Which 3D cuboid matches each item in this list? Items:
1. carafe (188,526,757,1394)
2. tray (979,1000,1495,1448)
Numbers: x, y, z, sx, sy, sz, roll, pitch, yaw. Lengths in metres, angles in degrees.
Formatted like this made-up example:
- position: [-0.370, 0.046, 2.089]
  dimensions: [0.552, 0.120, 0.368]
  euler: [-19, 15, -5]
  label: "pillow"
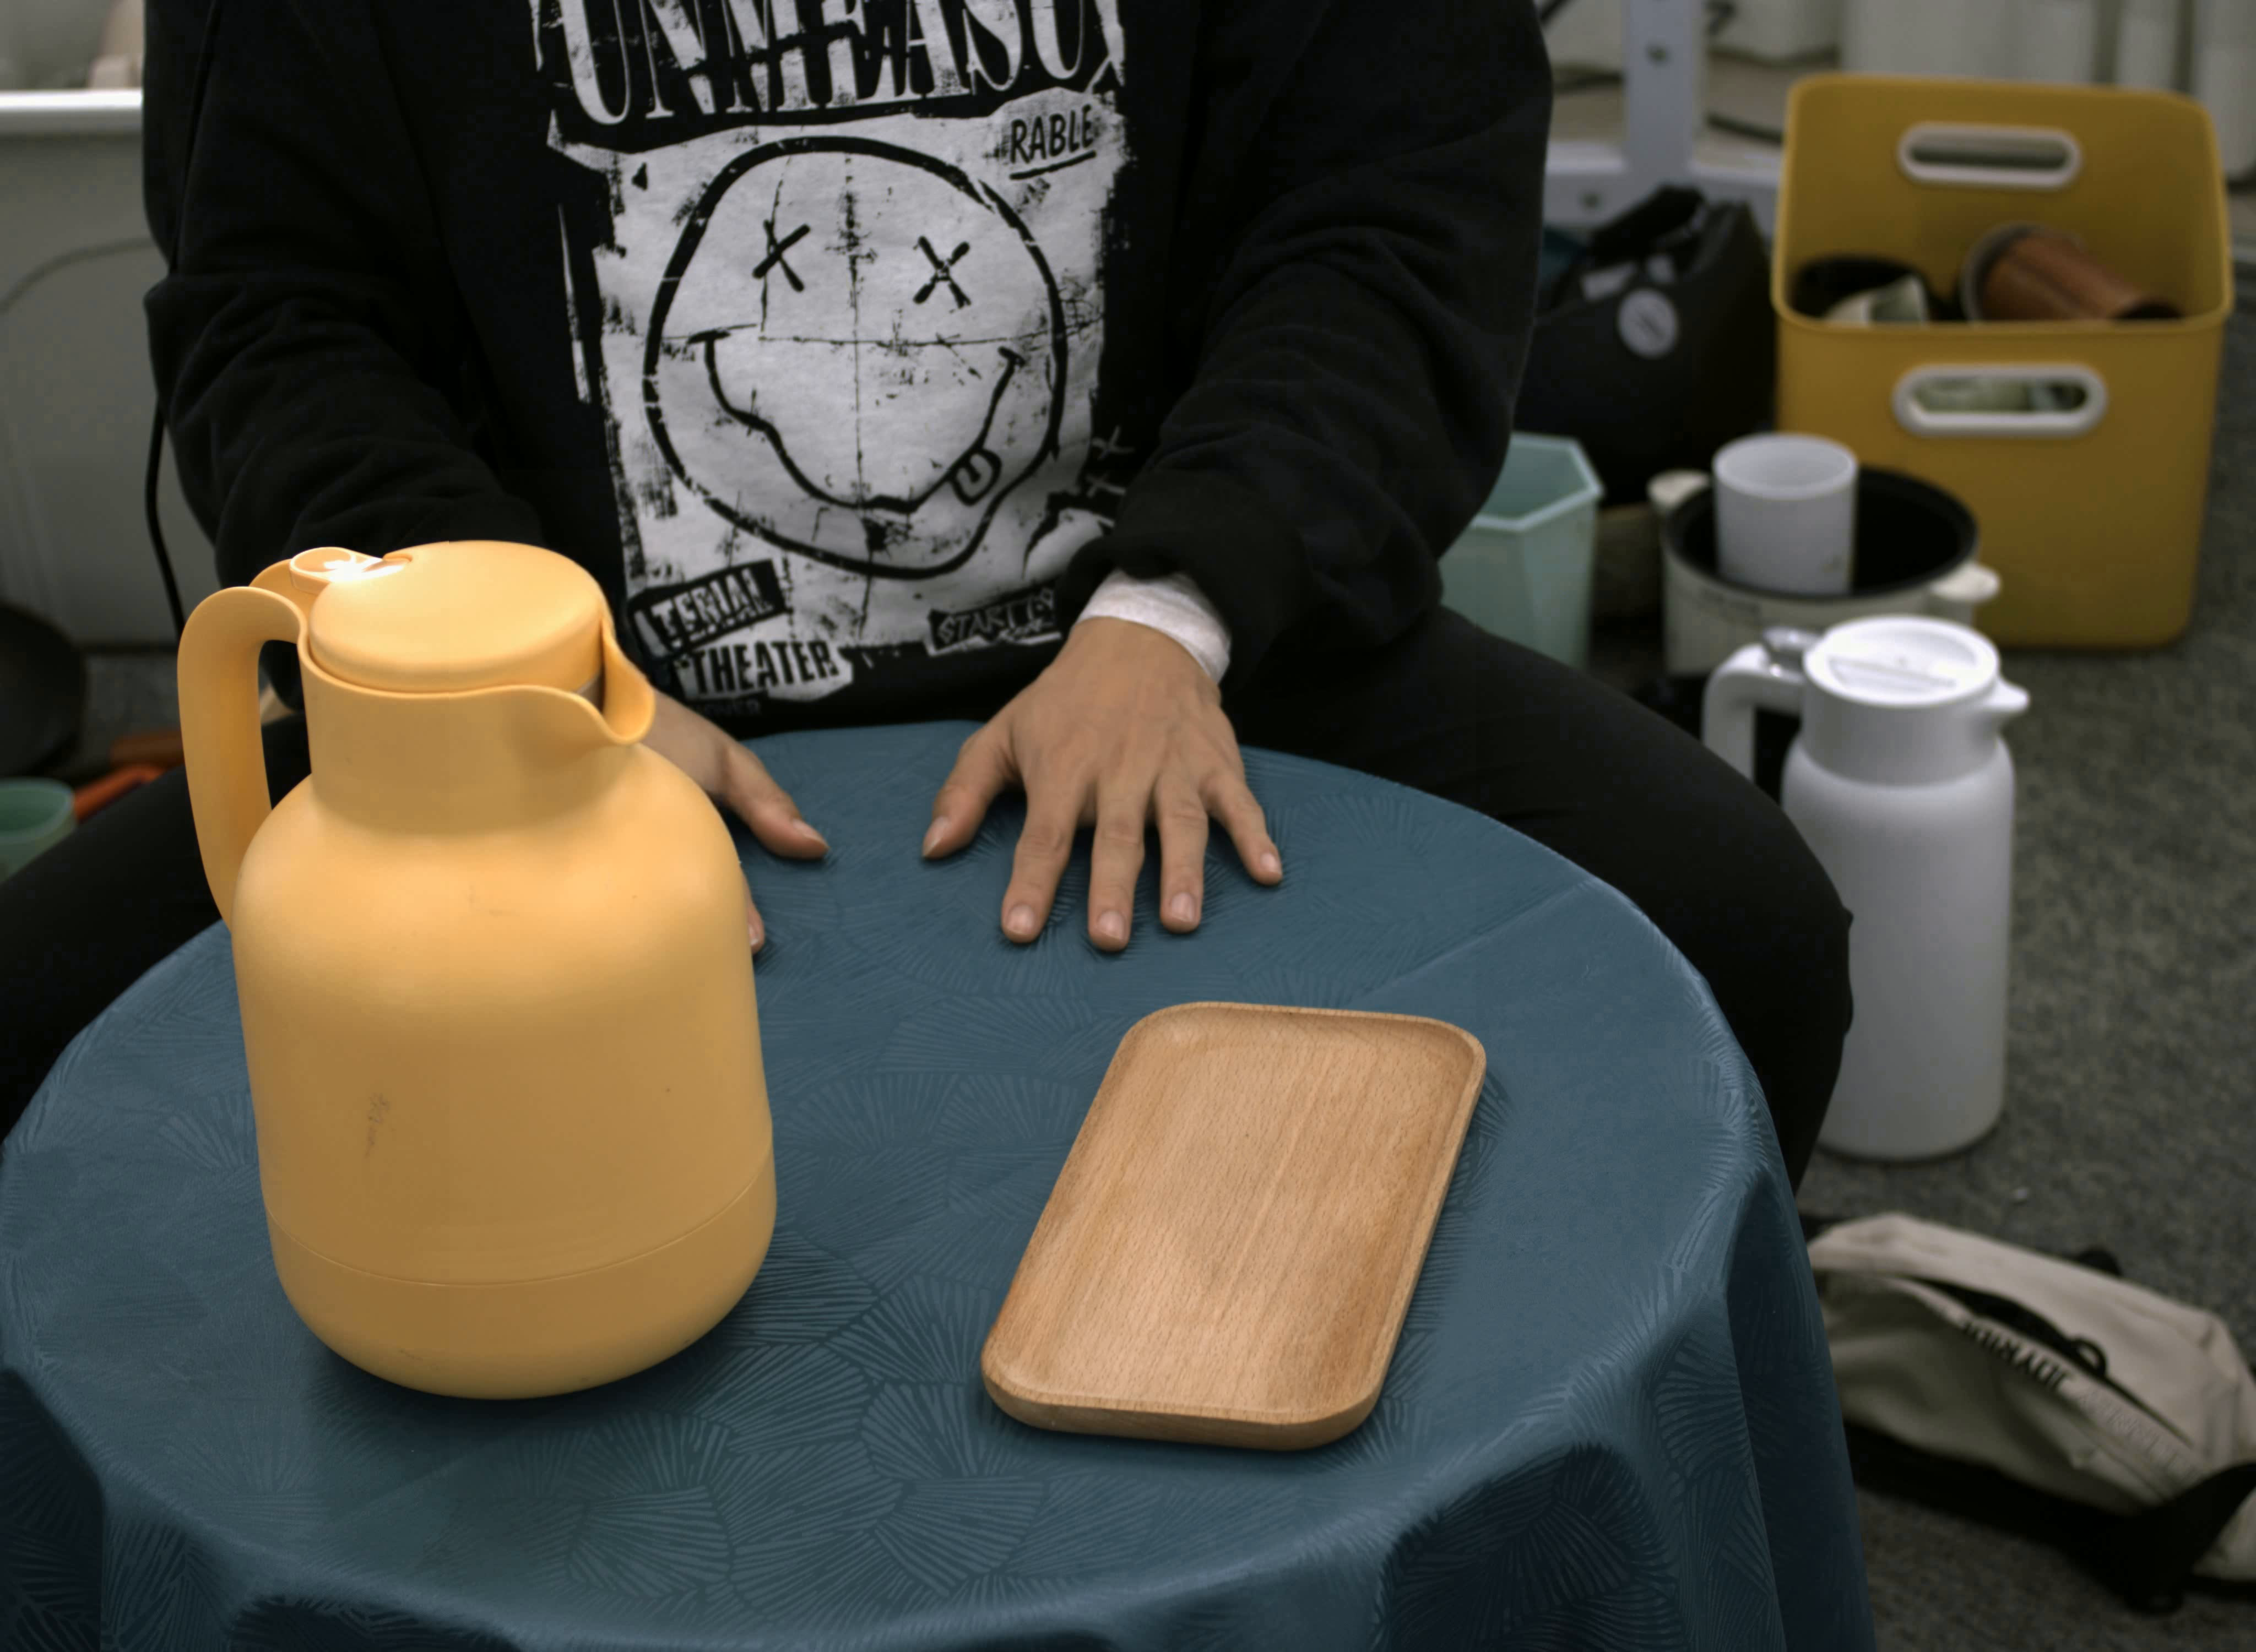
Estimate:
- position: [-0.214, 0.031, 1.770]
  dimensions: [0.202, 0.258, 0.165]
  euler: [21, 32, 36]
  label: "carafe"
- position: [0.039, 0.126, 1.827]
  dimensions: [0.130, 0.022, 0.255]
  euler: [6, 28, 13]
  label: "tray"
